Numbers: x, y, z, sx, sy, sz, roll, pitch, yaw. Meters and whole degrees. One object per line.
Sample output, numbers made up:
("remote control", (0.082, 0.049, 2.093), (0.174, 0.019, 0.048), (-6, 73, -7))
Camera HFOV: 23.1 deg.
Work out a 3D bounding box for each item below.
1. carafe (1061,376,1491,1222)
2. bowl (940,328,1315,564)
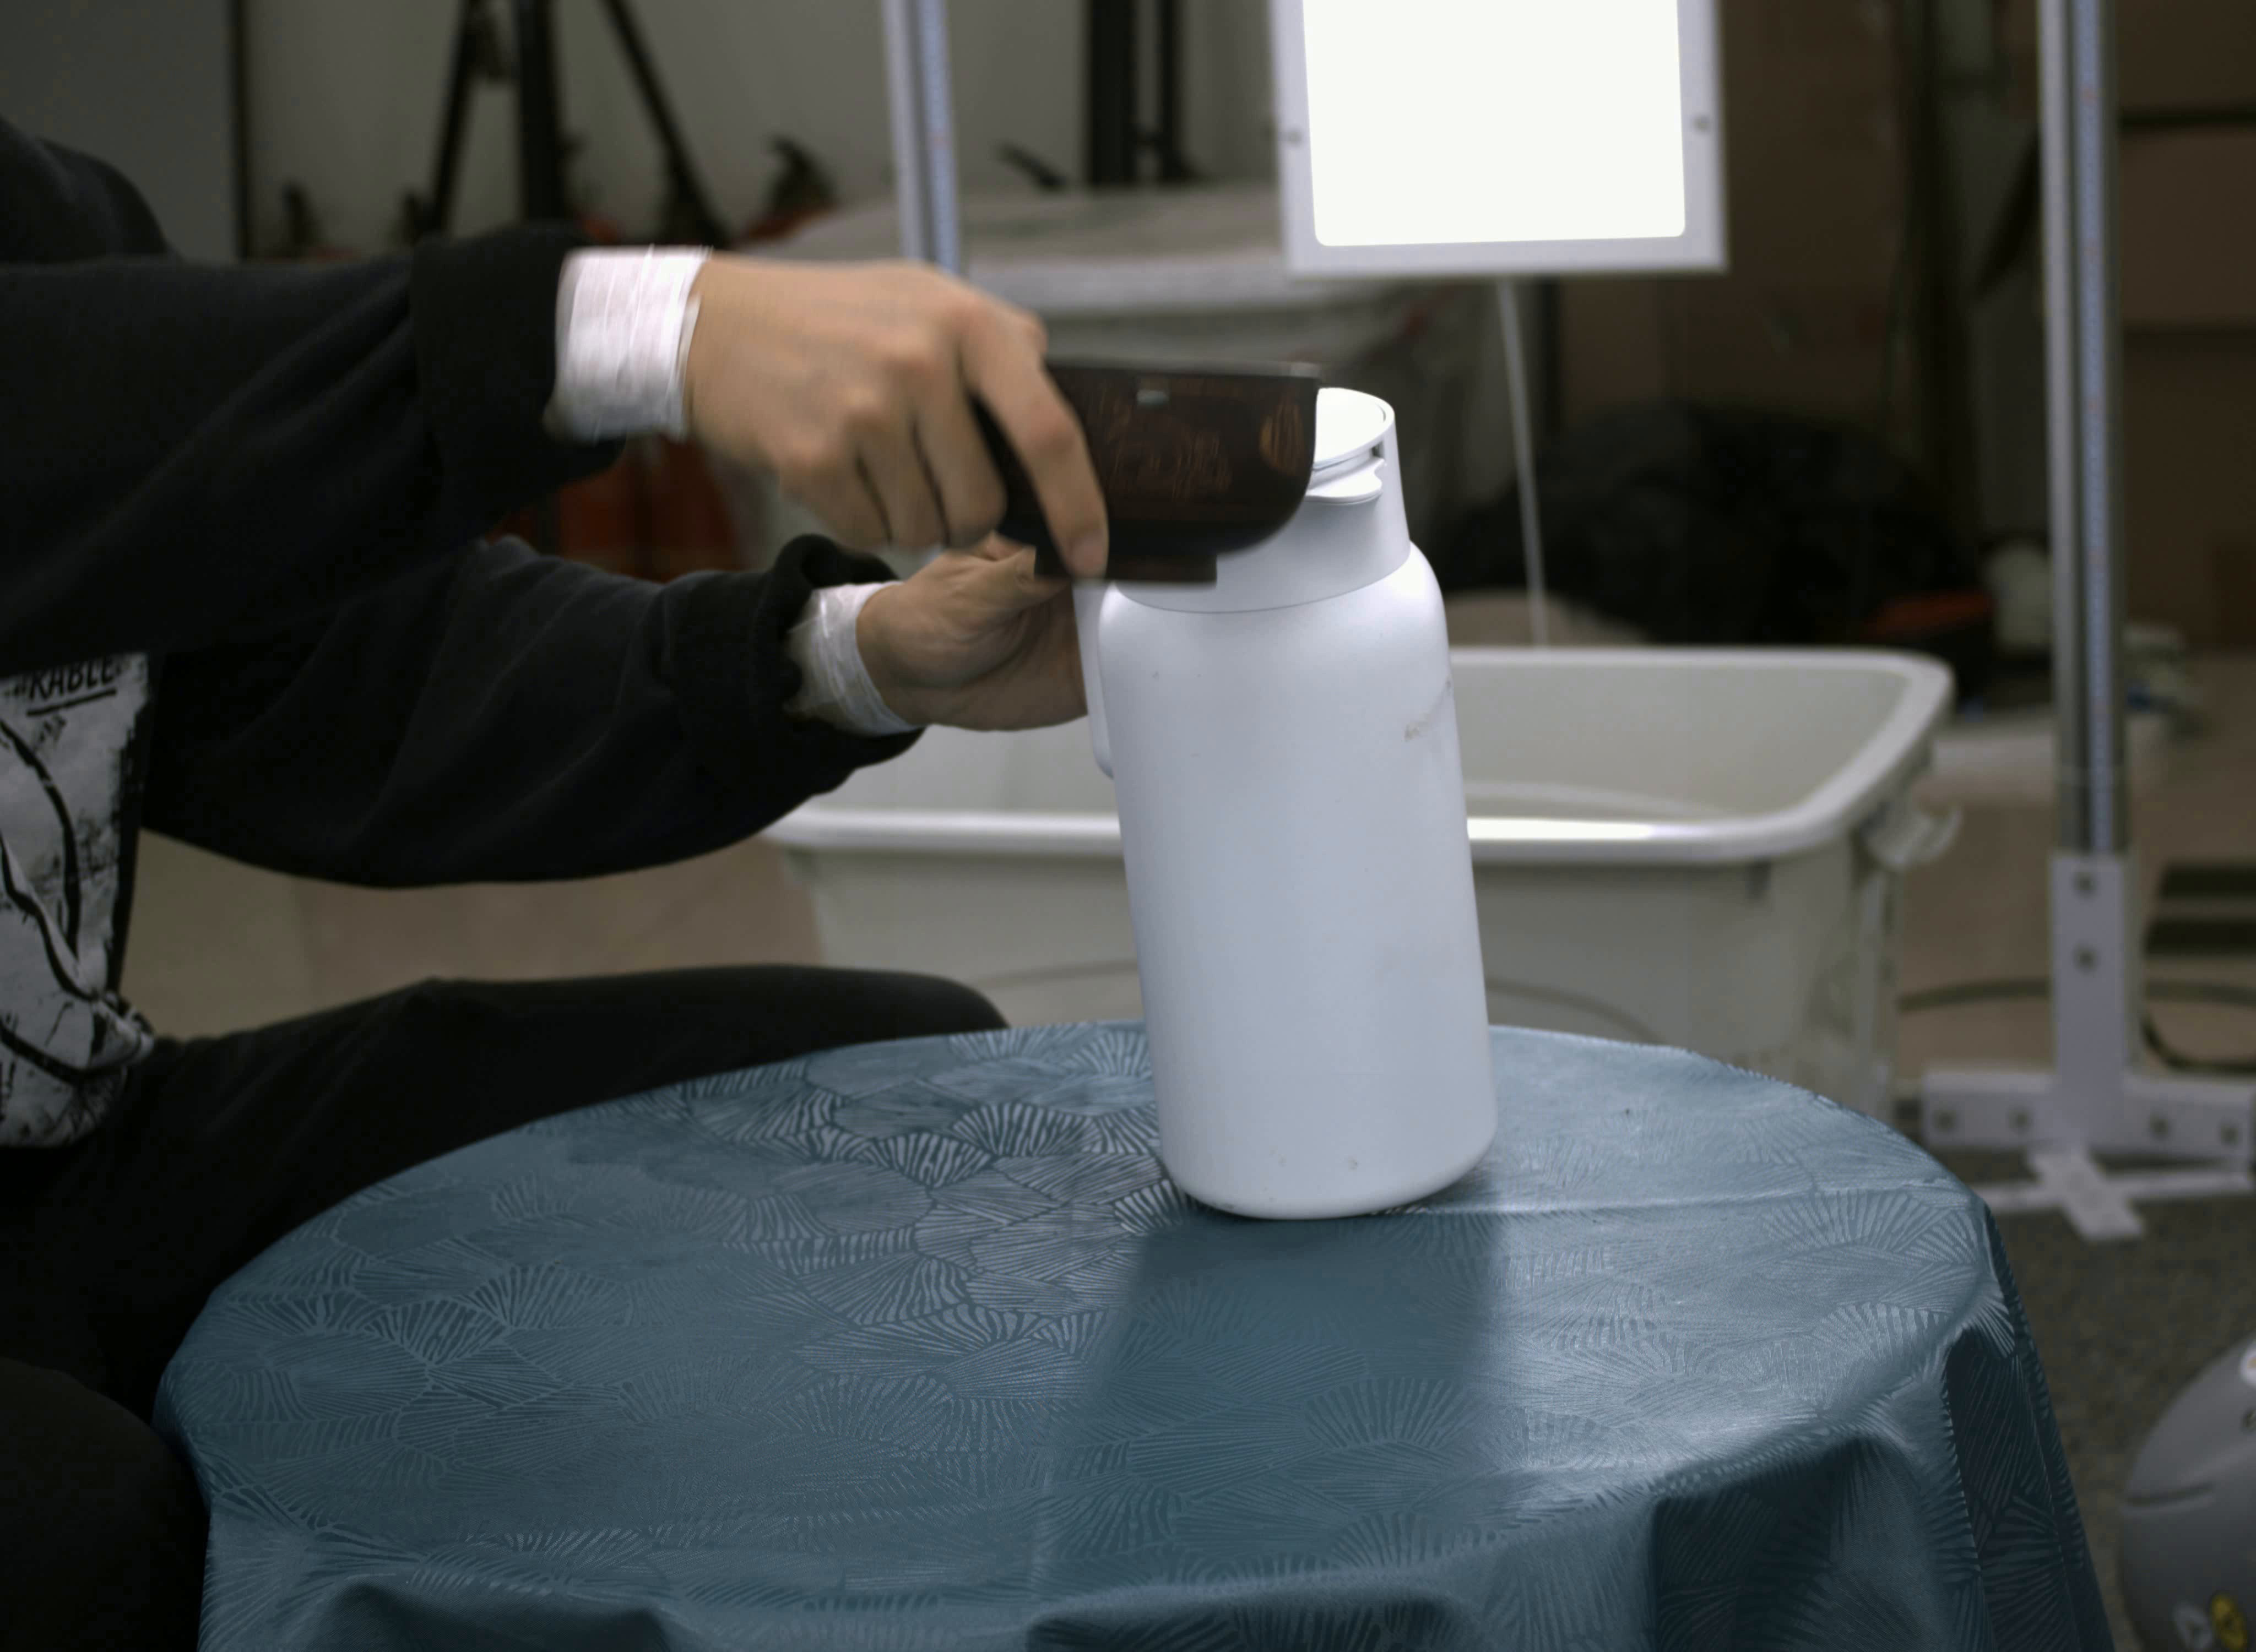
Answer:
("carafe", (0.043, -0.012, 1.863), (0.121, 0.269, 0.176), (-22, 24, -28))
("bowl", (0.000, -0.117, 1.709), (0.117, 0.070, 0.118), (2, 3, -1))
